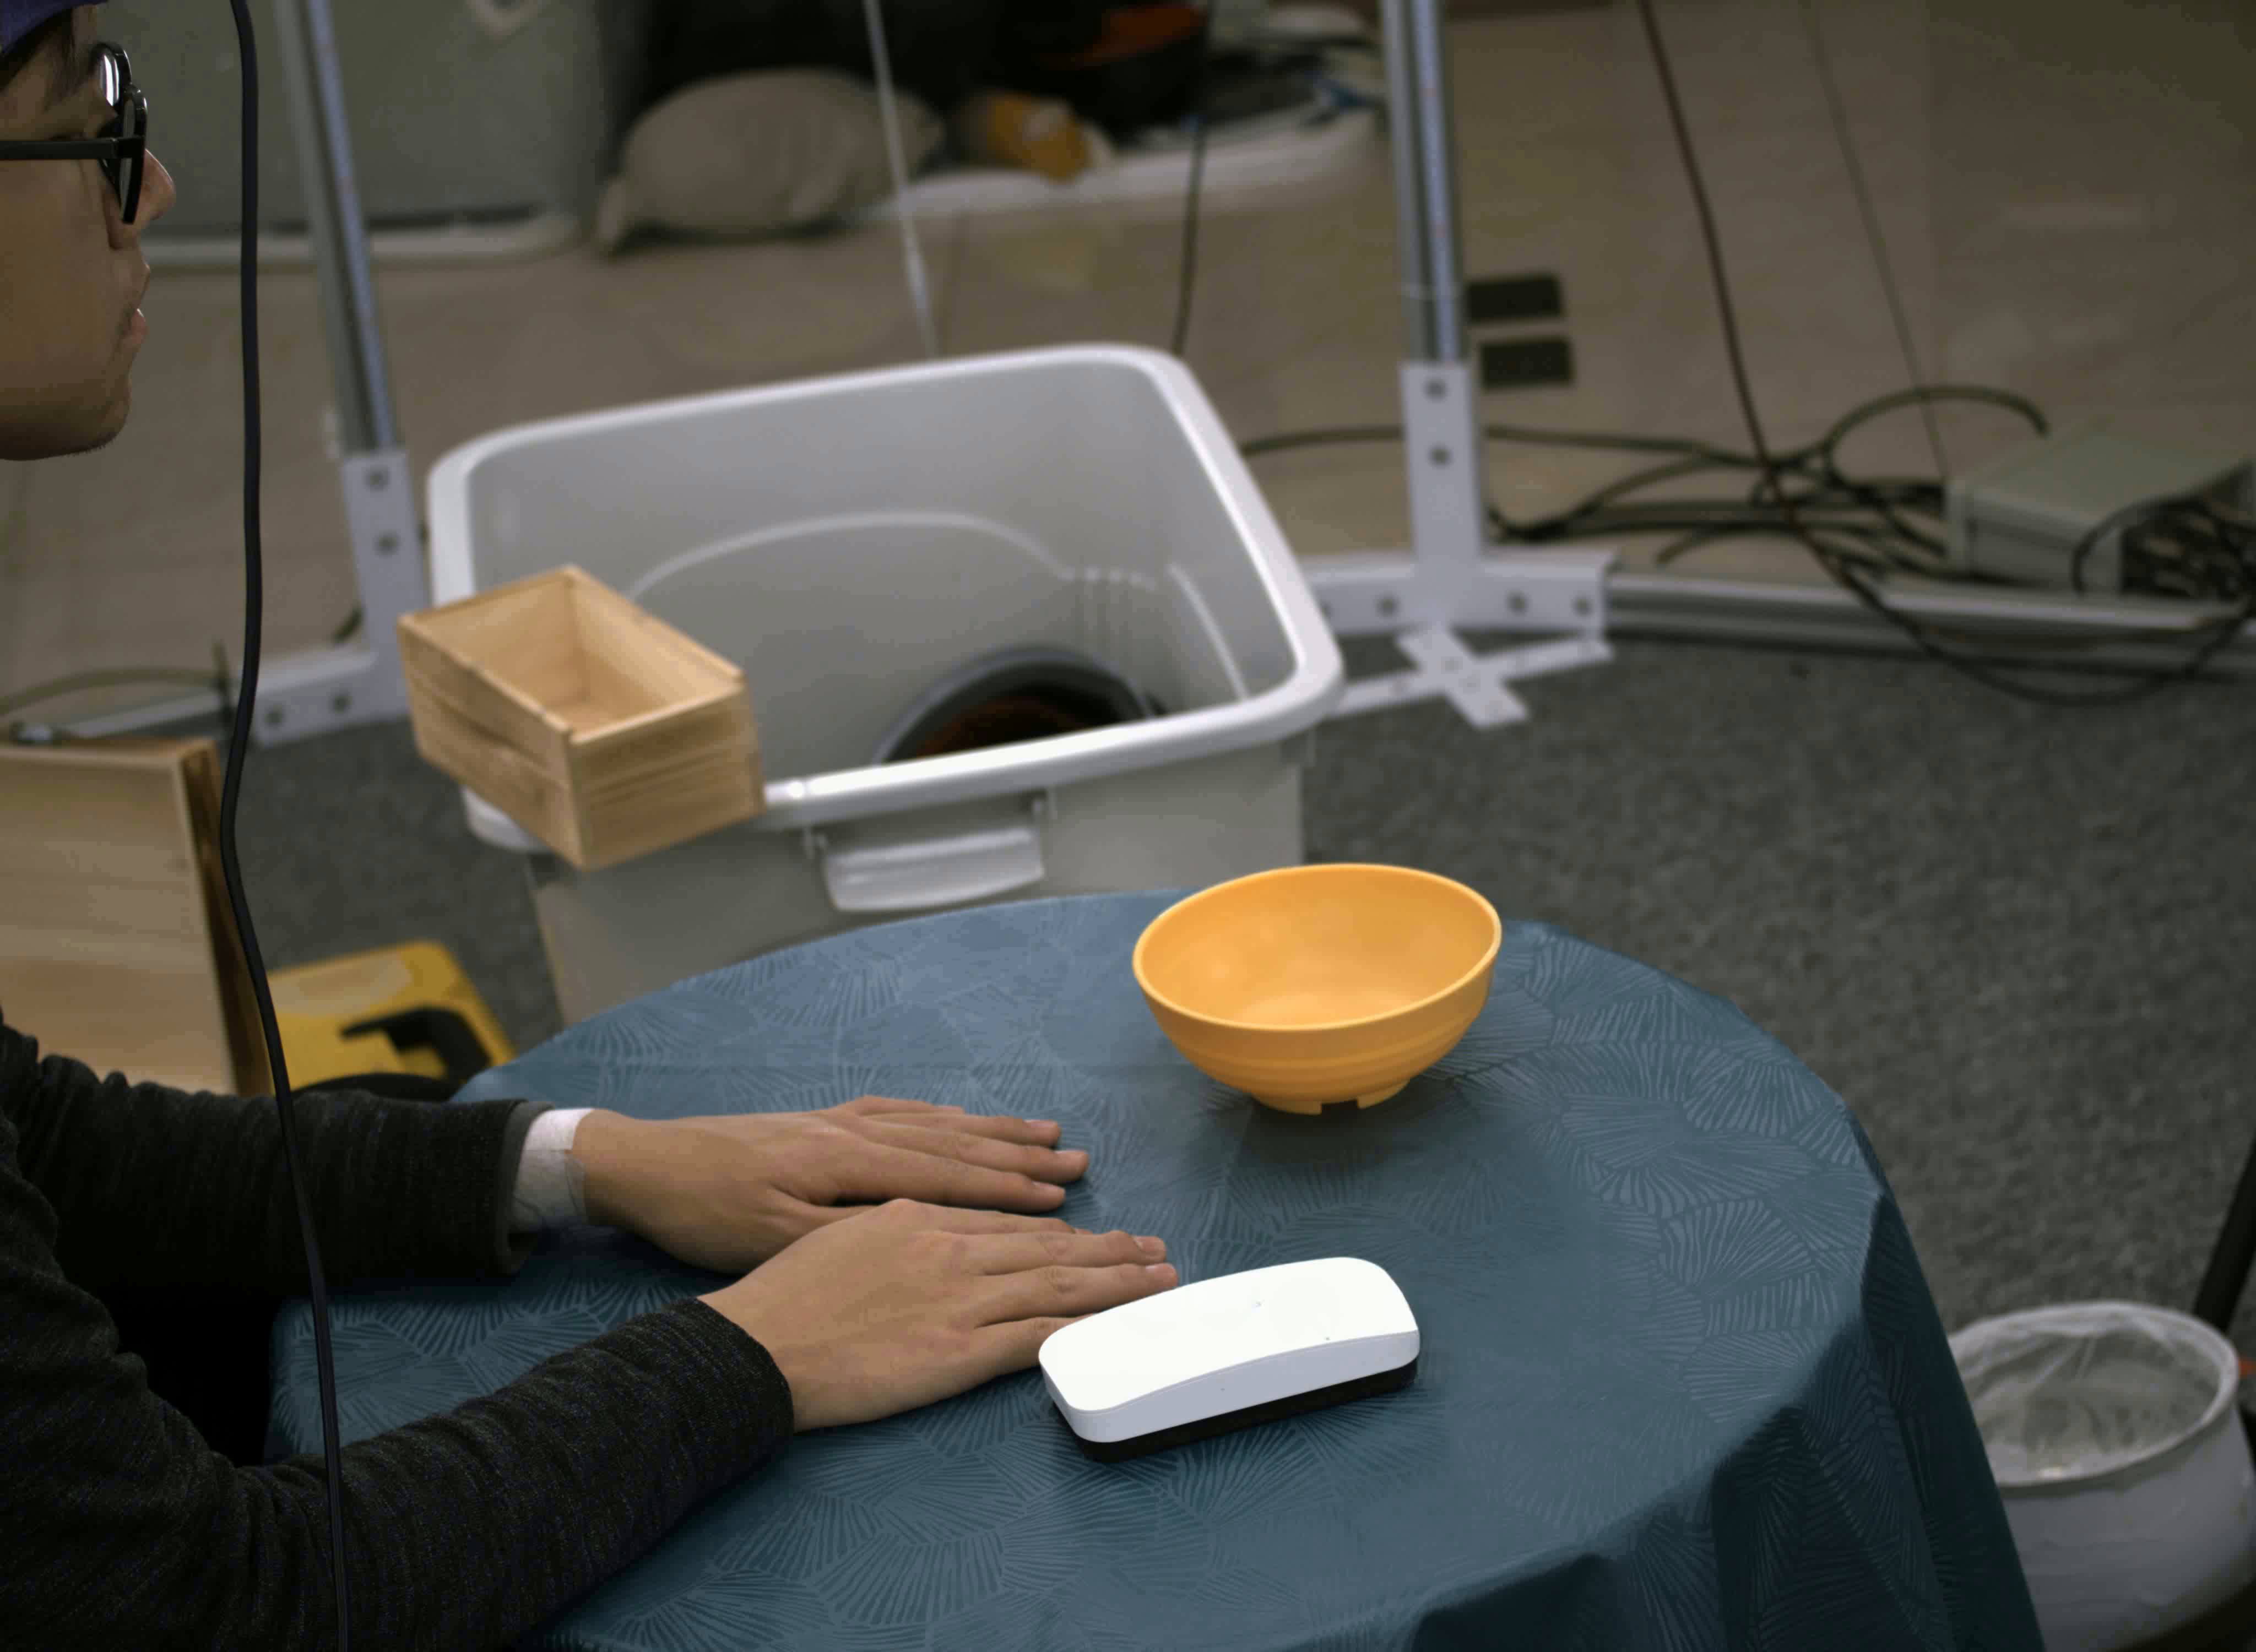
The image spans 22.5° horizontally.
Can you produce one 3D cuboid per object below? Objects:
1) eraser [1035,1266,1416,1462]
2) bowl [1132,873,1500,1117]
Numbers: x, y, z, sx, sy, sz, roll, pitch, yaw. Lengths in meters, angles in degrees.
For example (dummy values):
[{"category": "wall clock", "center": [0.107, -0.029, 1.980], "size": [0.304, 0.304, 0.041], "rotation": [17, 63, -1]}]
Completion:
[{"category": "eraser", "center": [0.034, 0.186, 2.001], "size": [0.131, 0.035, 0.062], "rotation": [-12, 25, -14]}, {"category": "bowl", "center": [0.076, 0.073, 2.203], "size": [0.145, 0.061, 0.143], "rotation": [-6, 23, 3]}]
